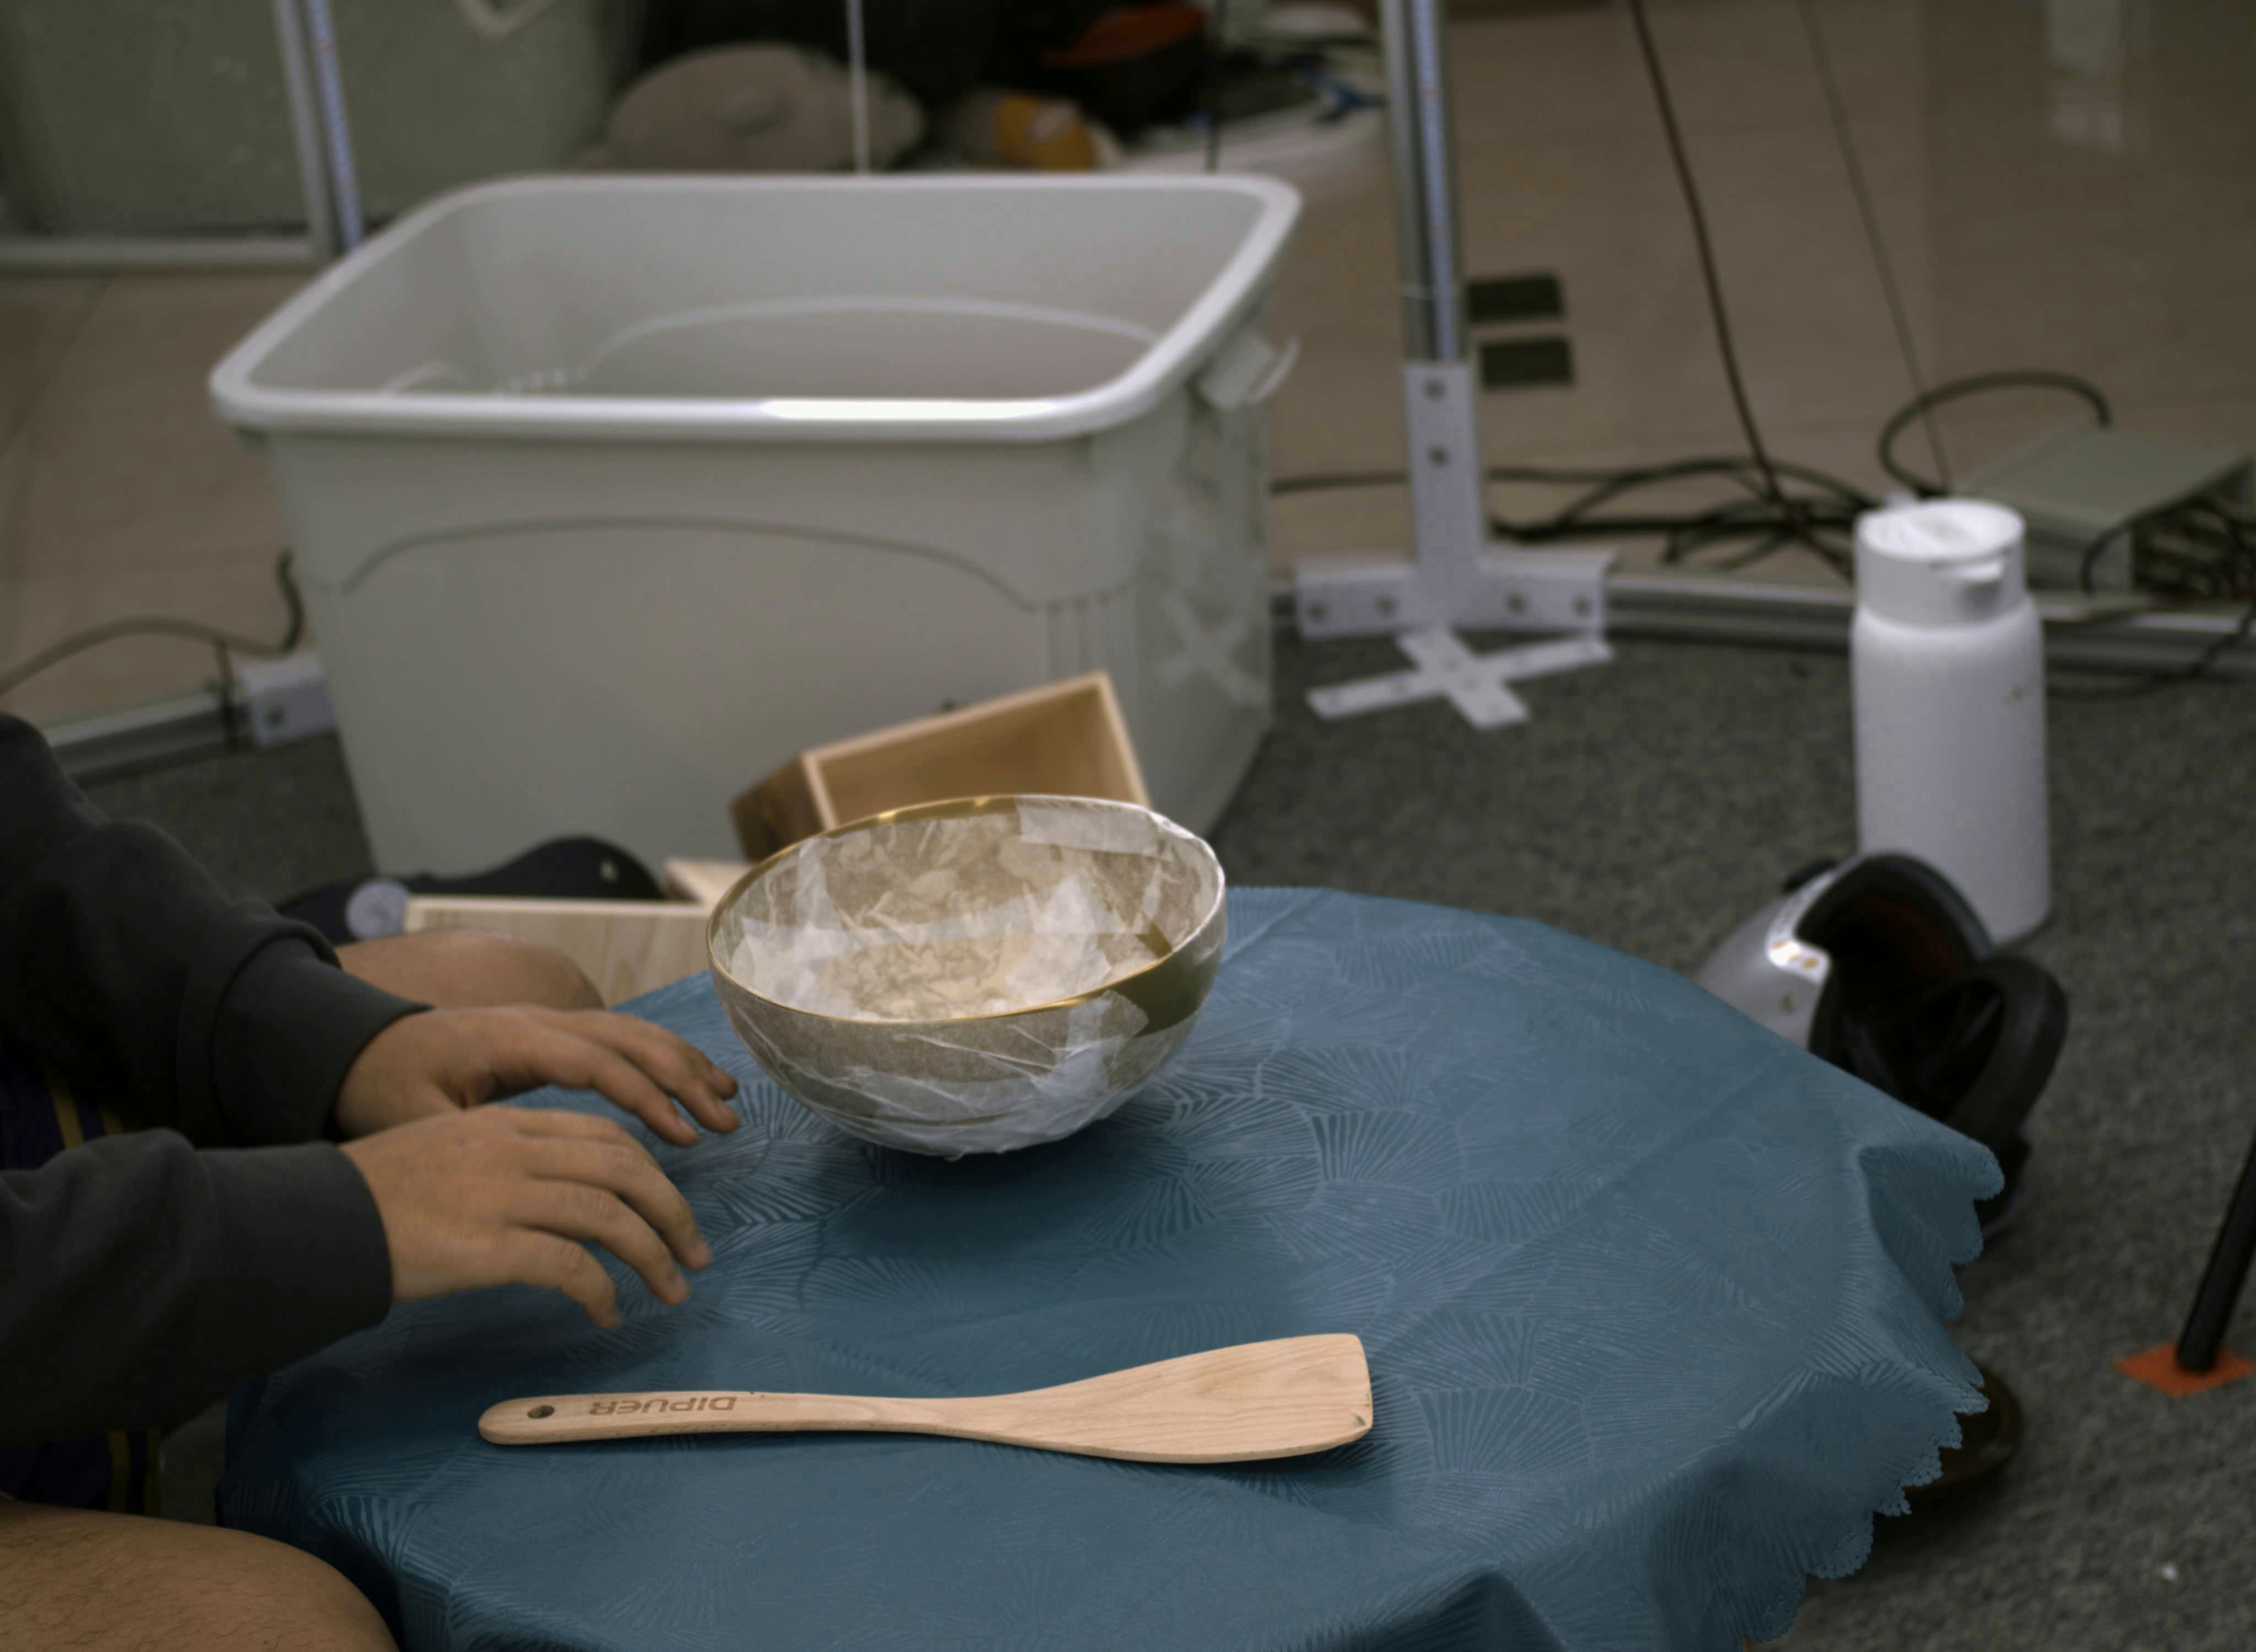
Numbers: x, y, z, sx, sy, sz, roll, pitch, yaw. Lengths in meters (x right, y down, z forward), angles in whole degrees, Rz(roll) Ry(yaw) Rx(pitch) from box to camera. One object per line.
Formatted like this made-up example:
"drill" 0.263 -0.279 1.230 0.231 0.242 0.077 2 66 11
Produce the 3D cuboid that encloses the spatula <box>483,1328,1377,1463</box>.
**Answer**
"spatula" -0.070 0.204 2.006 0.327 0.017 0.079 -2 26 10

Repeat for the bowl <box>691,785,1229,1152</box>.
"bowl" -0.063 0.068 2.199 0.214 0.096 0.211 -4 26 2
